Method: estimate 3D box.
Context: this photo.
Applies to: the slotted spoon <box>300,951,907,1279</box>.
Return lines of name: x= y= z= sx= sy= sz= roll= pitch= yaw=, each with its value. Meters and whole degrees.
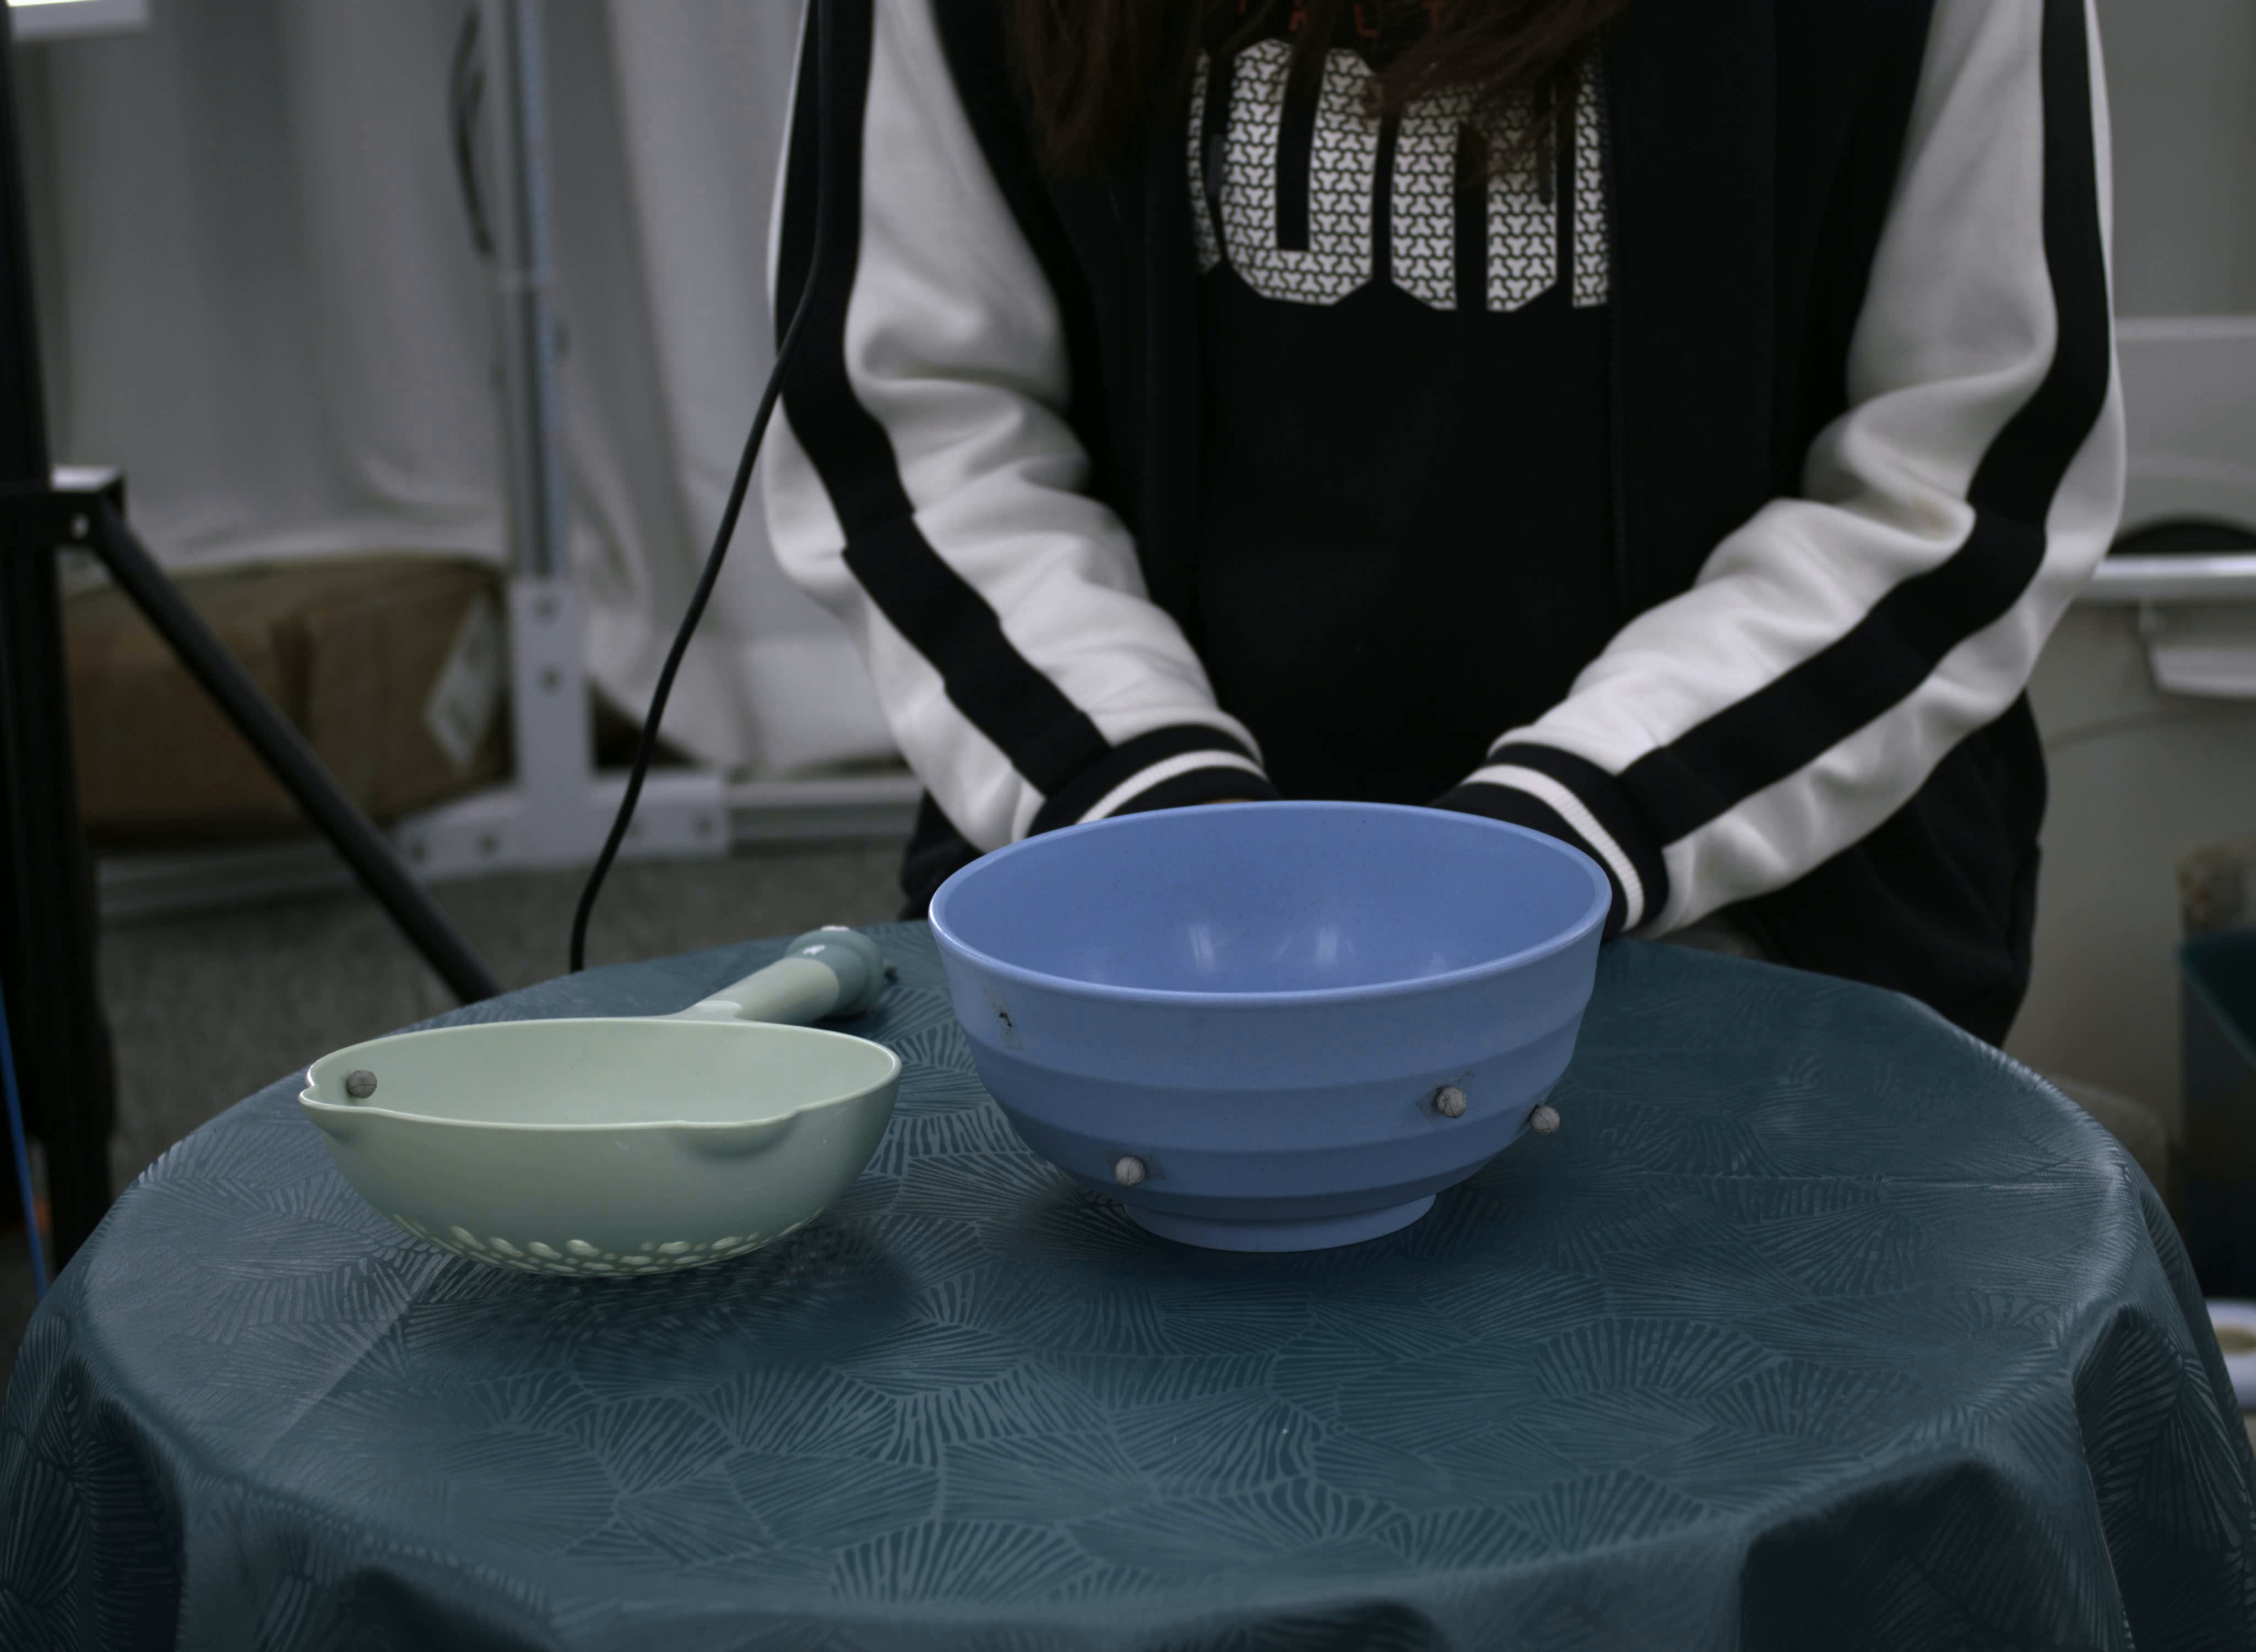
slotted spoon: x=-0.125 y=0.071 z=1.604 sx=0.170 sy=0.075 sz=0.356 roll=2 pitch=15 yaw=13

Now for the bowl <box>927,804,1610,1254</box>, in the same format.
bowl: x=0.042 y=0.064 z=1.533 sx=0.195 sy=0.095 sz=0.197 roll=-3 pitch=15 yaw=-1
